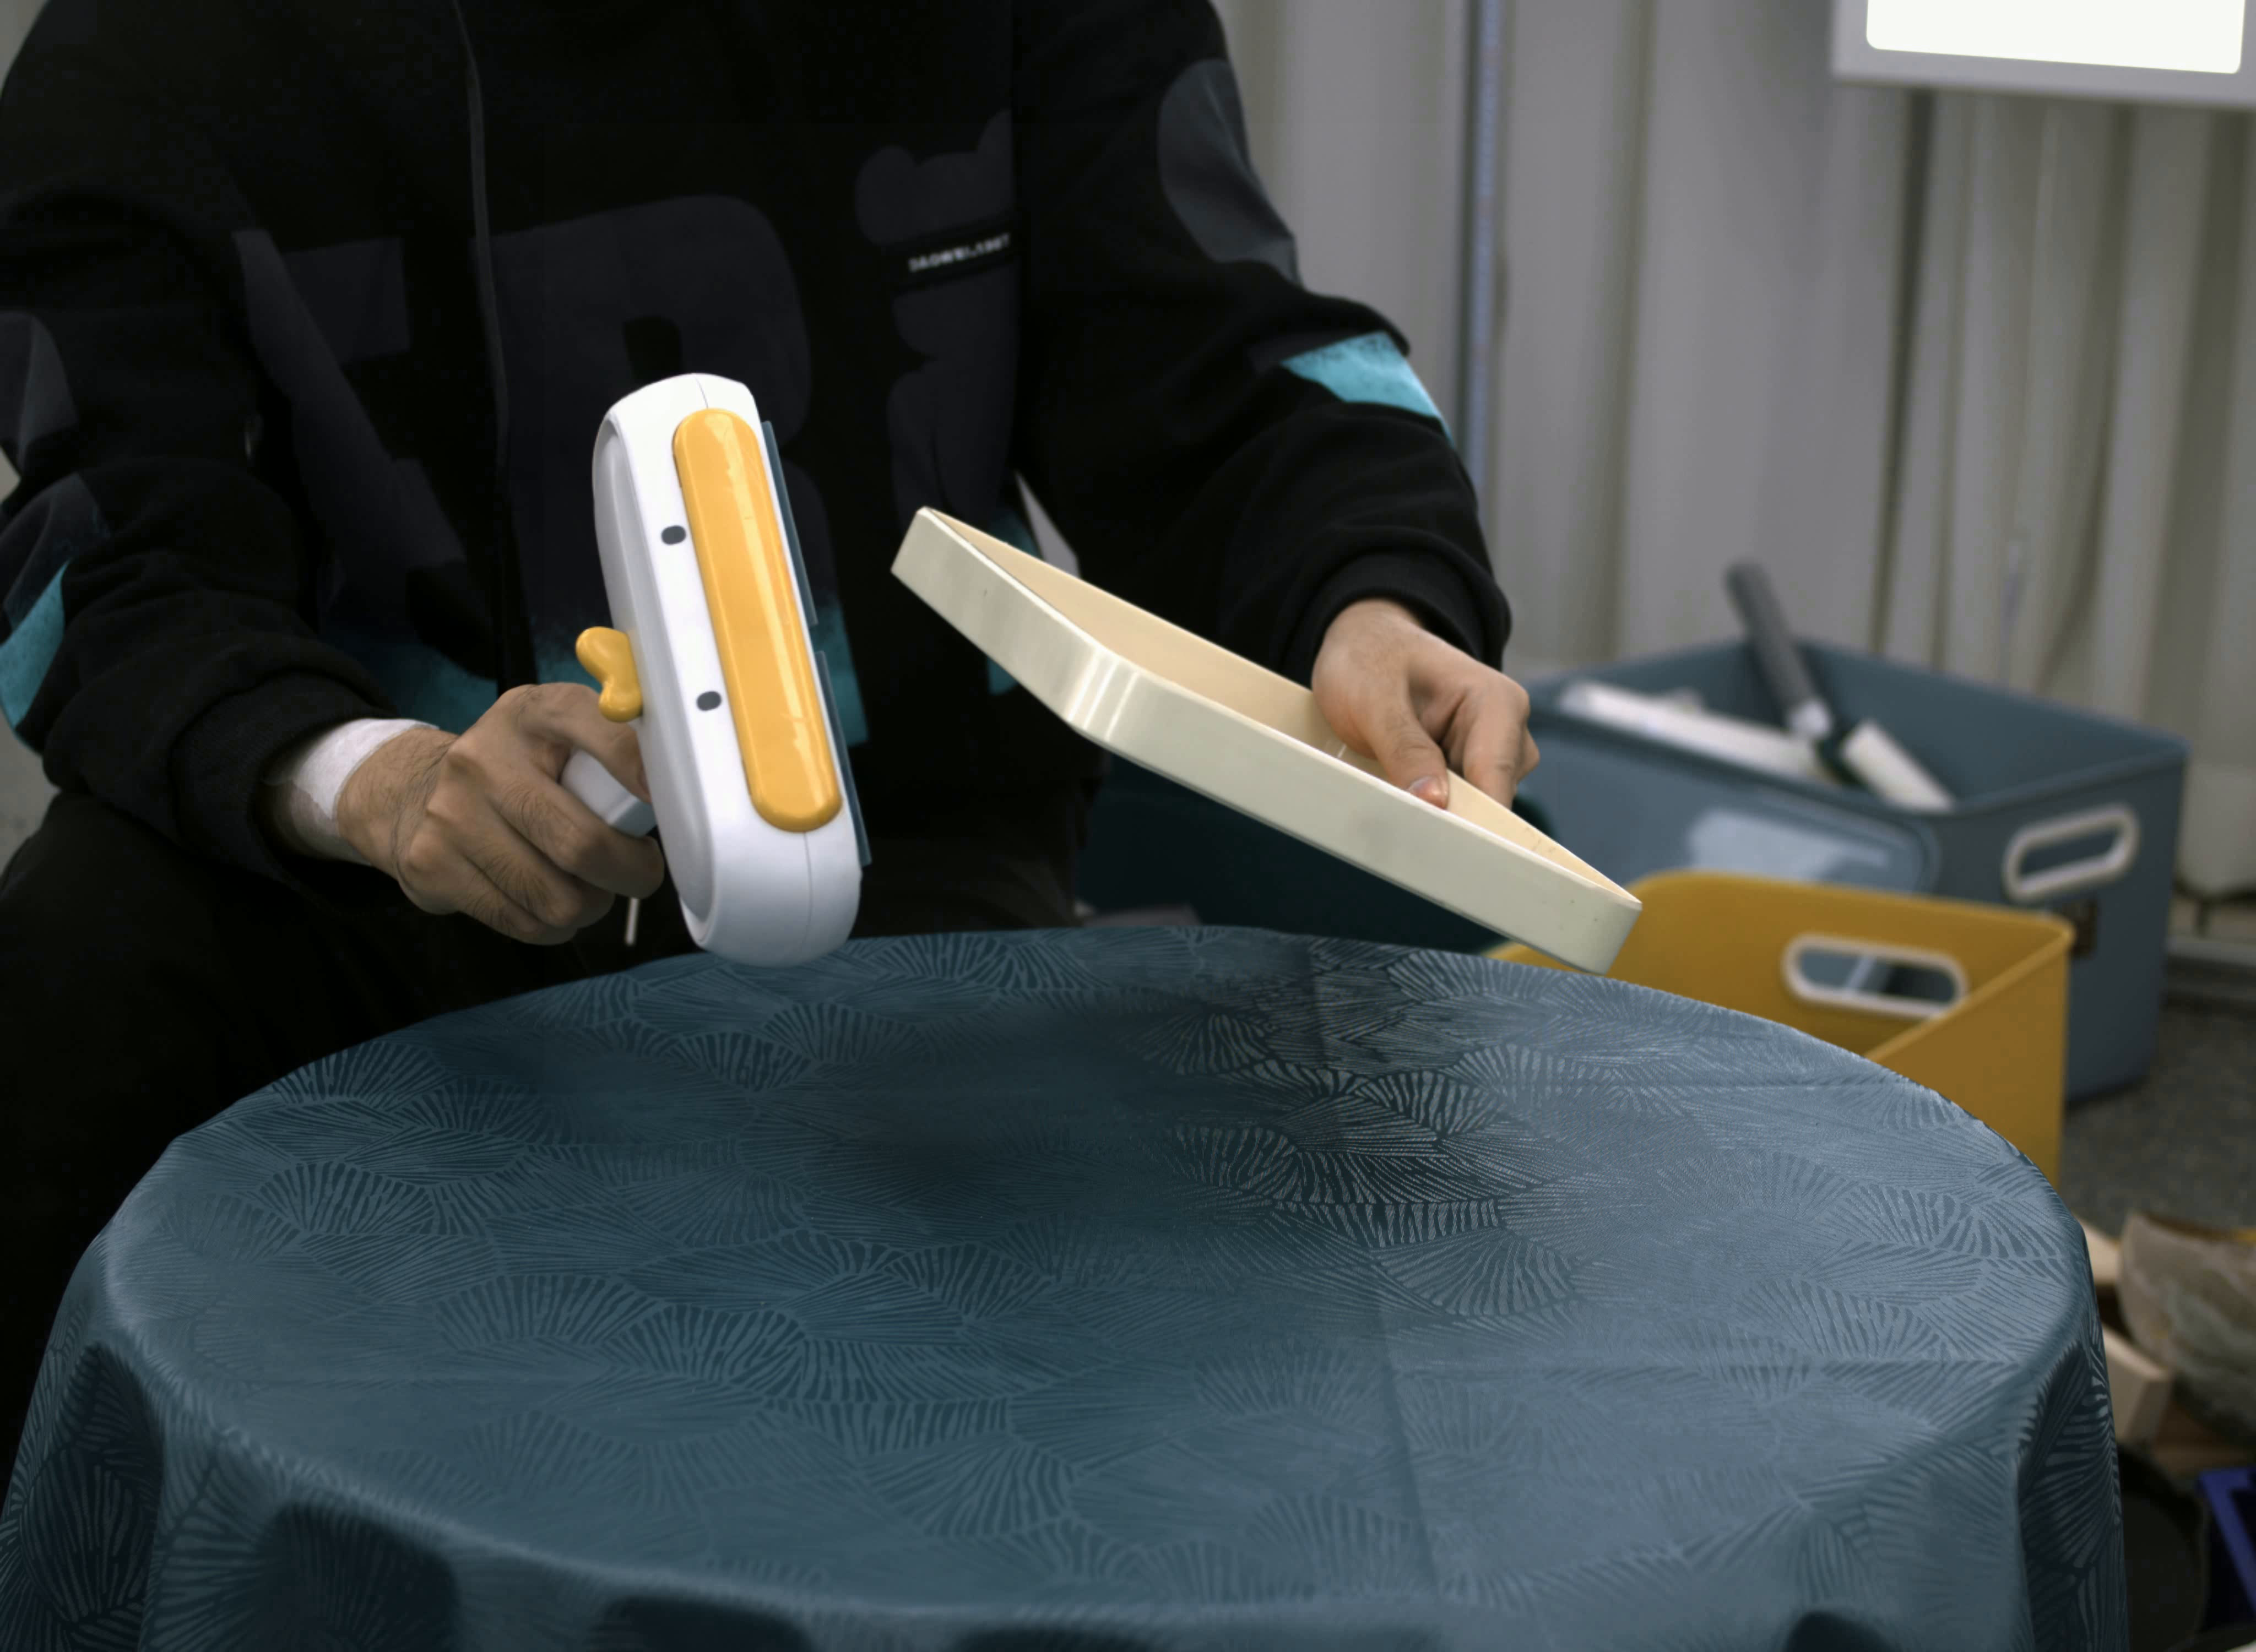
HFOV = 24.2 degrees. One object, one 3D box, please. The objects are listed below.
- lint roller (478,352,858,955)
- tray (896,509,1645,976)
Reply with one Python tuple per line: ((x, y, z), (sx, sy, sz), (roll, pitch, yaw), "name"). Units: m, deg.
((-0.153, -0.024, 1.649), (0.074, 0.193, 0.191), (-7, 62, -28), "lint roller")
((0.038, -0.030, 1.673), (0.193, 0.027, 0.298), (26, 4, -17), "tray")
